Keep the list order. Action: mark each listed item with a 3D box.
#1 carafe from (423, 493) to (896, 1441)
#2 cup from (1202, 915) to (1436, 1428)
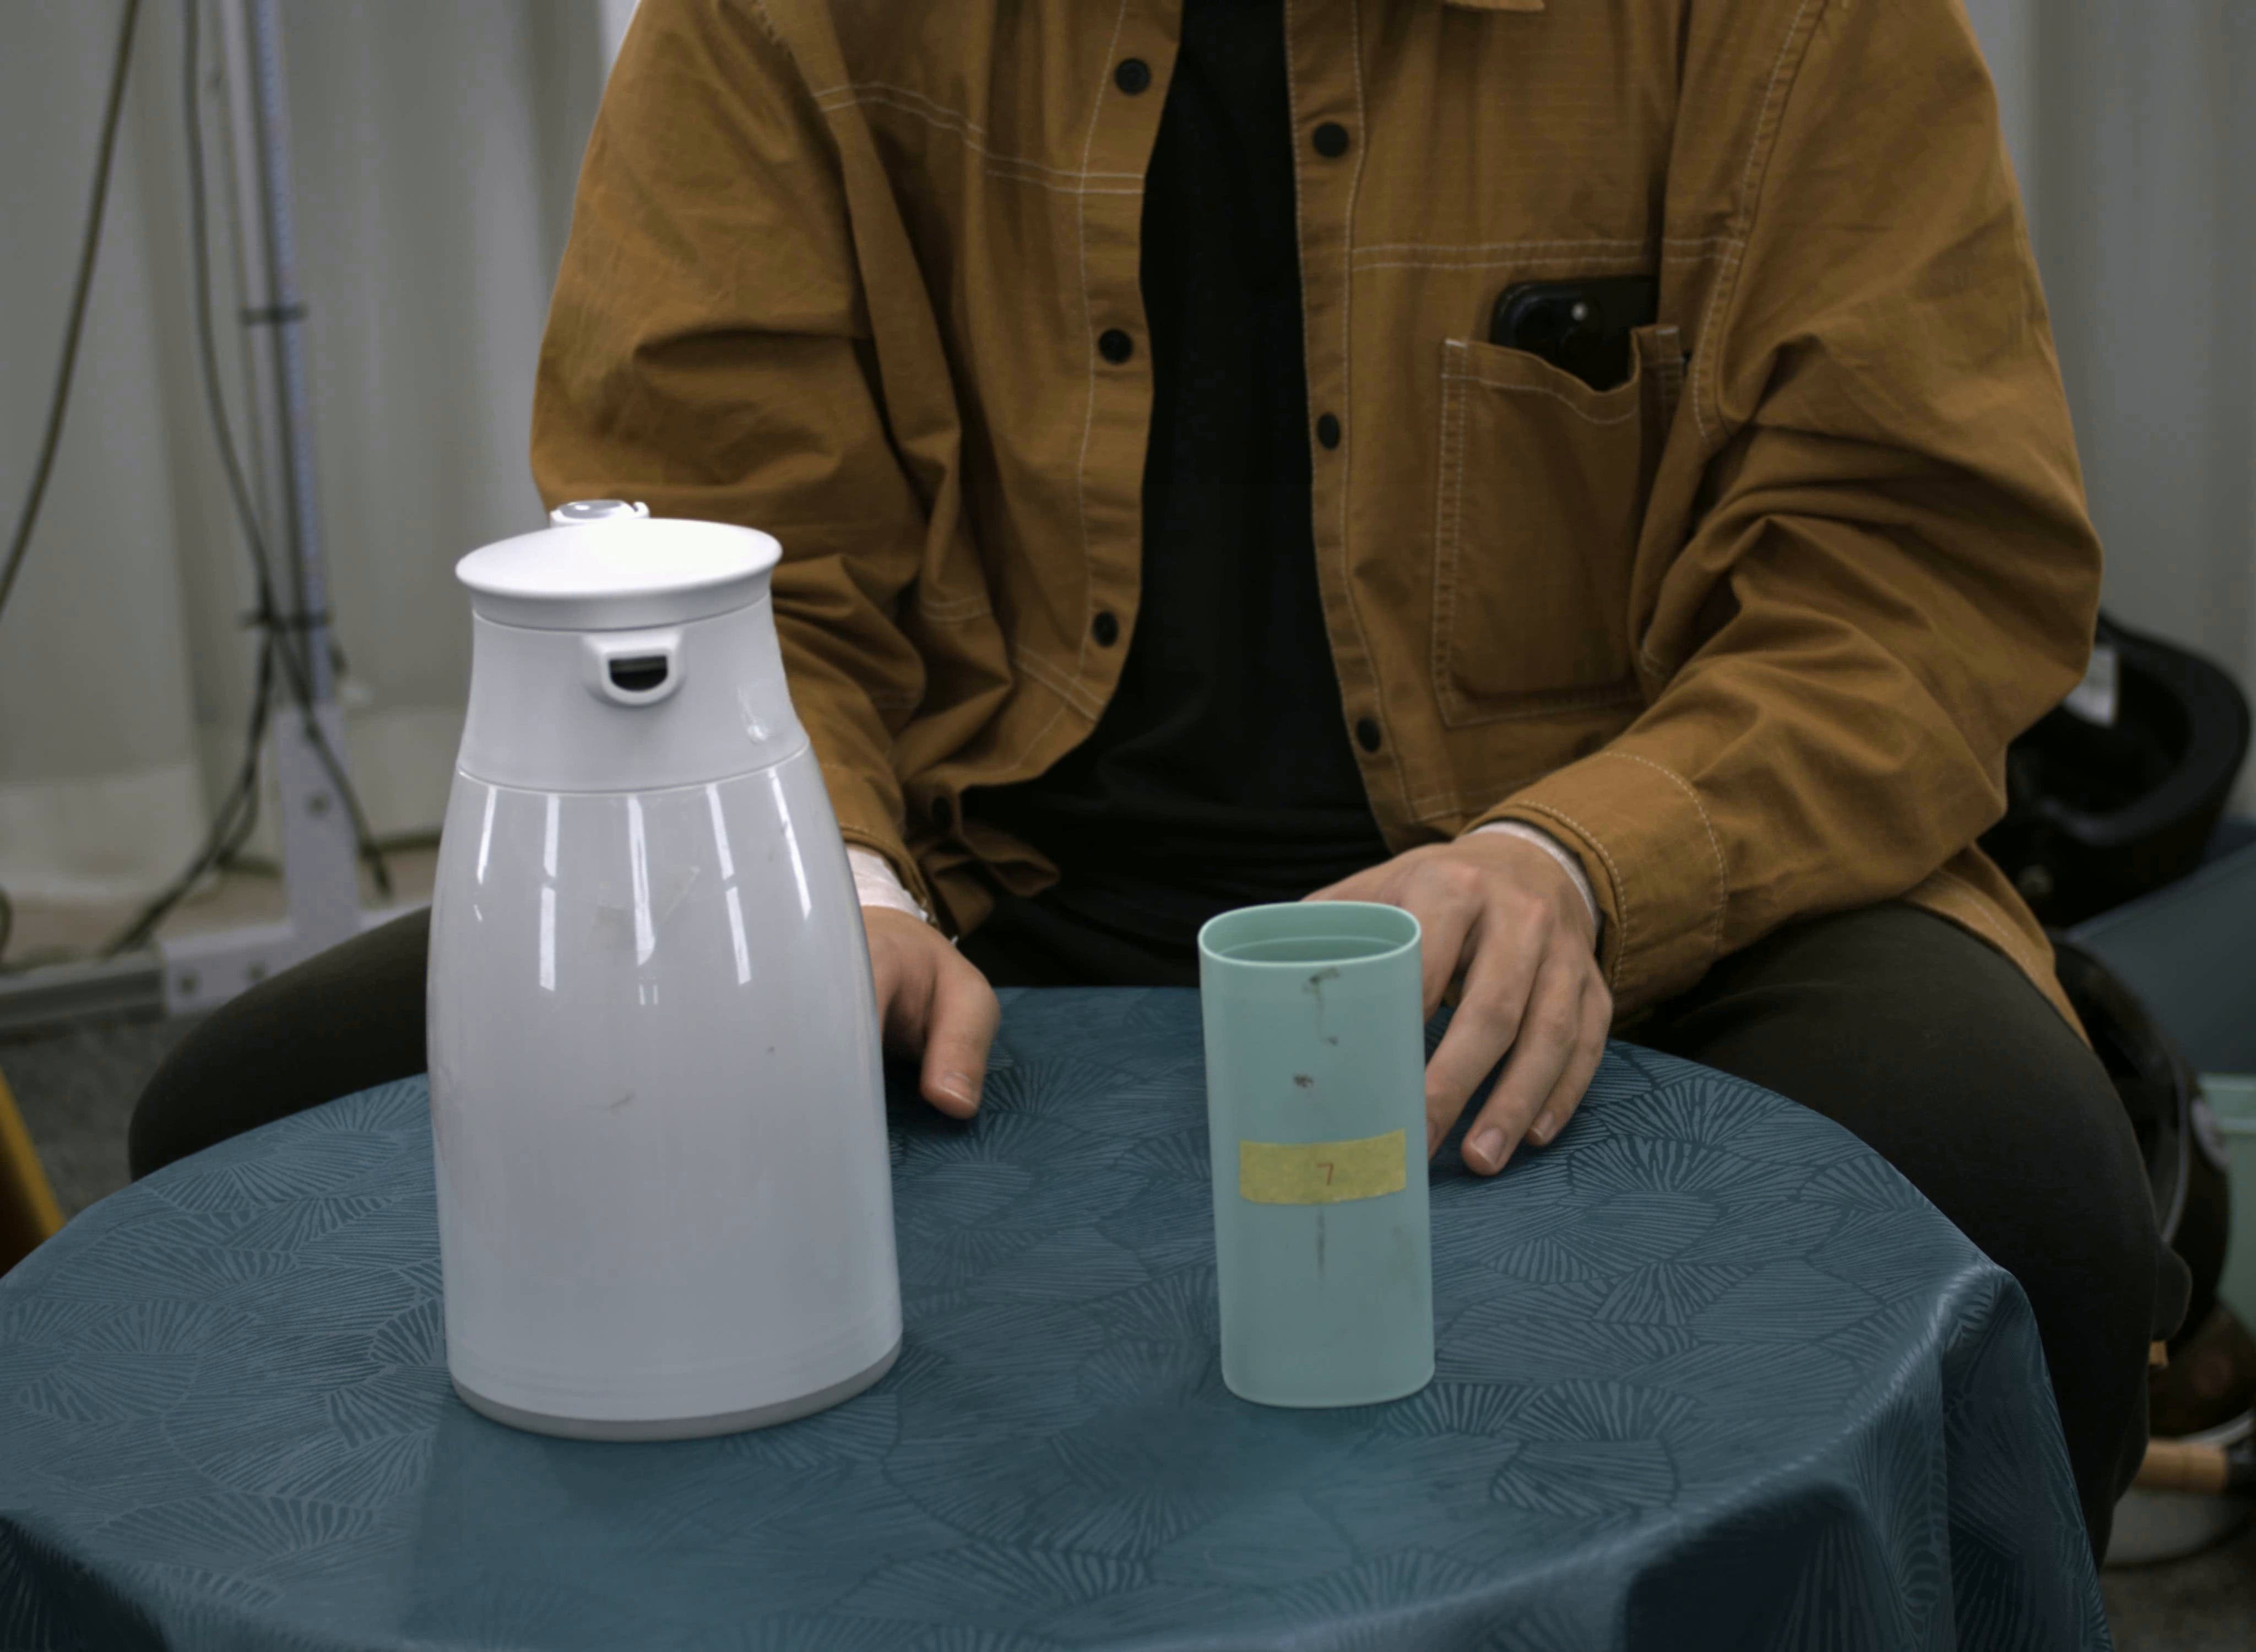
[{"bbox_3d":[-0.142,0.032,1.576,0.132,0.248,0.169,-5,13,-9],"label":"carafe"},{"bbox_3d":[0.055,0.096,1.536,0.066,0.132,0.067,-2,14,0],"label":"cup"}]
